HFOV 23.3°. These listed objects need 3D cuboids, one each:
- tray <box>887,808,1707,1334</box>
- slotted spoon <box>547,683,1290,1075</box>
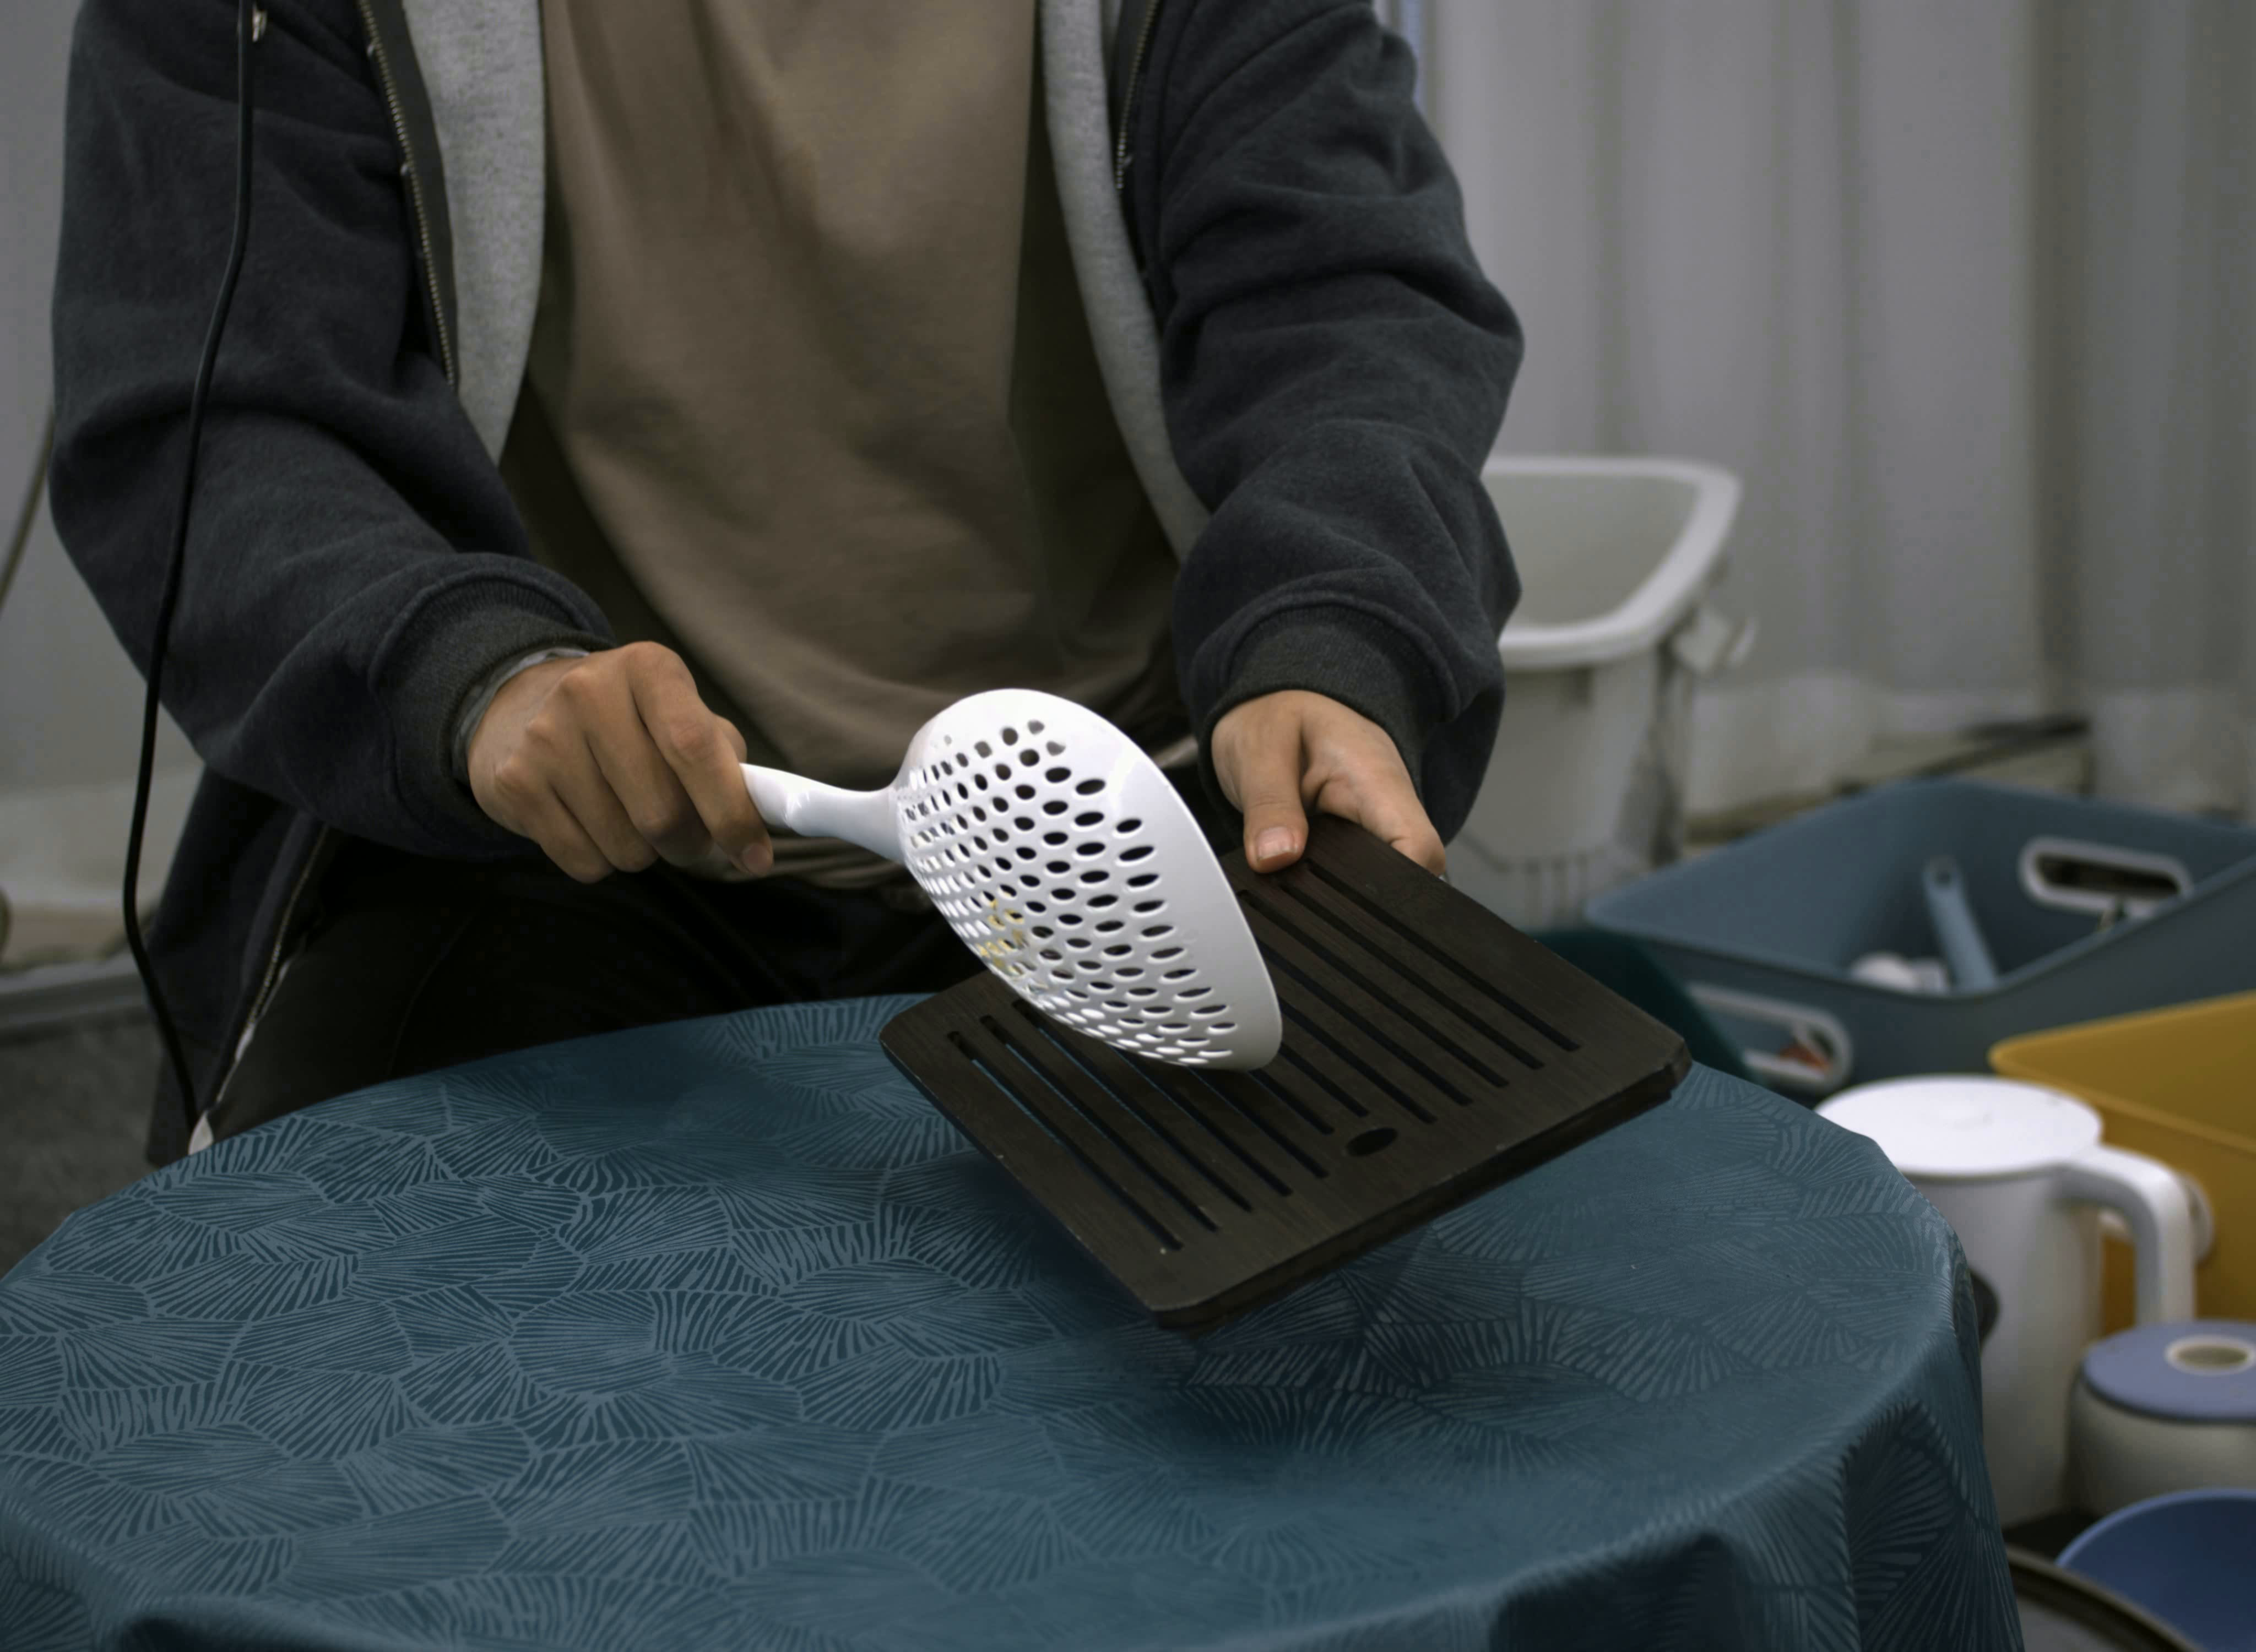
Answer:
[{"bbox_3d":[0.043,0.069,1.634,0.170,0.018,0.308,-26,19,-11],"label":"tray"},{"bbox_3d":[-0.076,0.005,1.684,0.050,0.135,0.350,-36,28,-22],"label":"slotted spoon"}]
